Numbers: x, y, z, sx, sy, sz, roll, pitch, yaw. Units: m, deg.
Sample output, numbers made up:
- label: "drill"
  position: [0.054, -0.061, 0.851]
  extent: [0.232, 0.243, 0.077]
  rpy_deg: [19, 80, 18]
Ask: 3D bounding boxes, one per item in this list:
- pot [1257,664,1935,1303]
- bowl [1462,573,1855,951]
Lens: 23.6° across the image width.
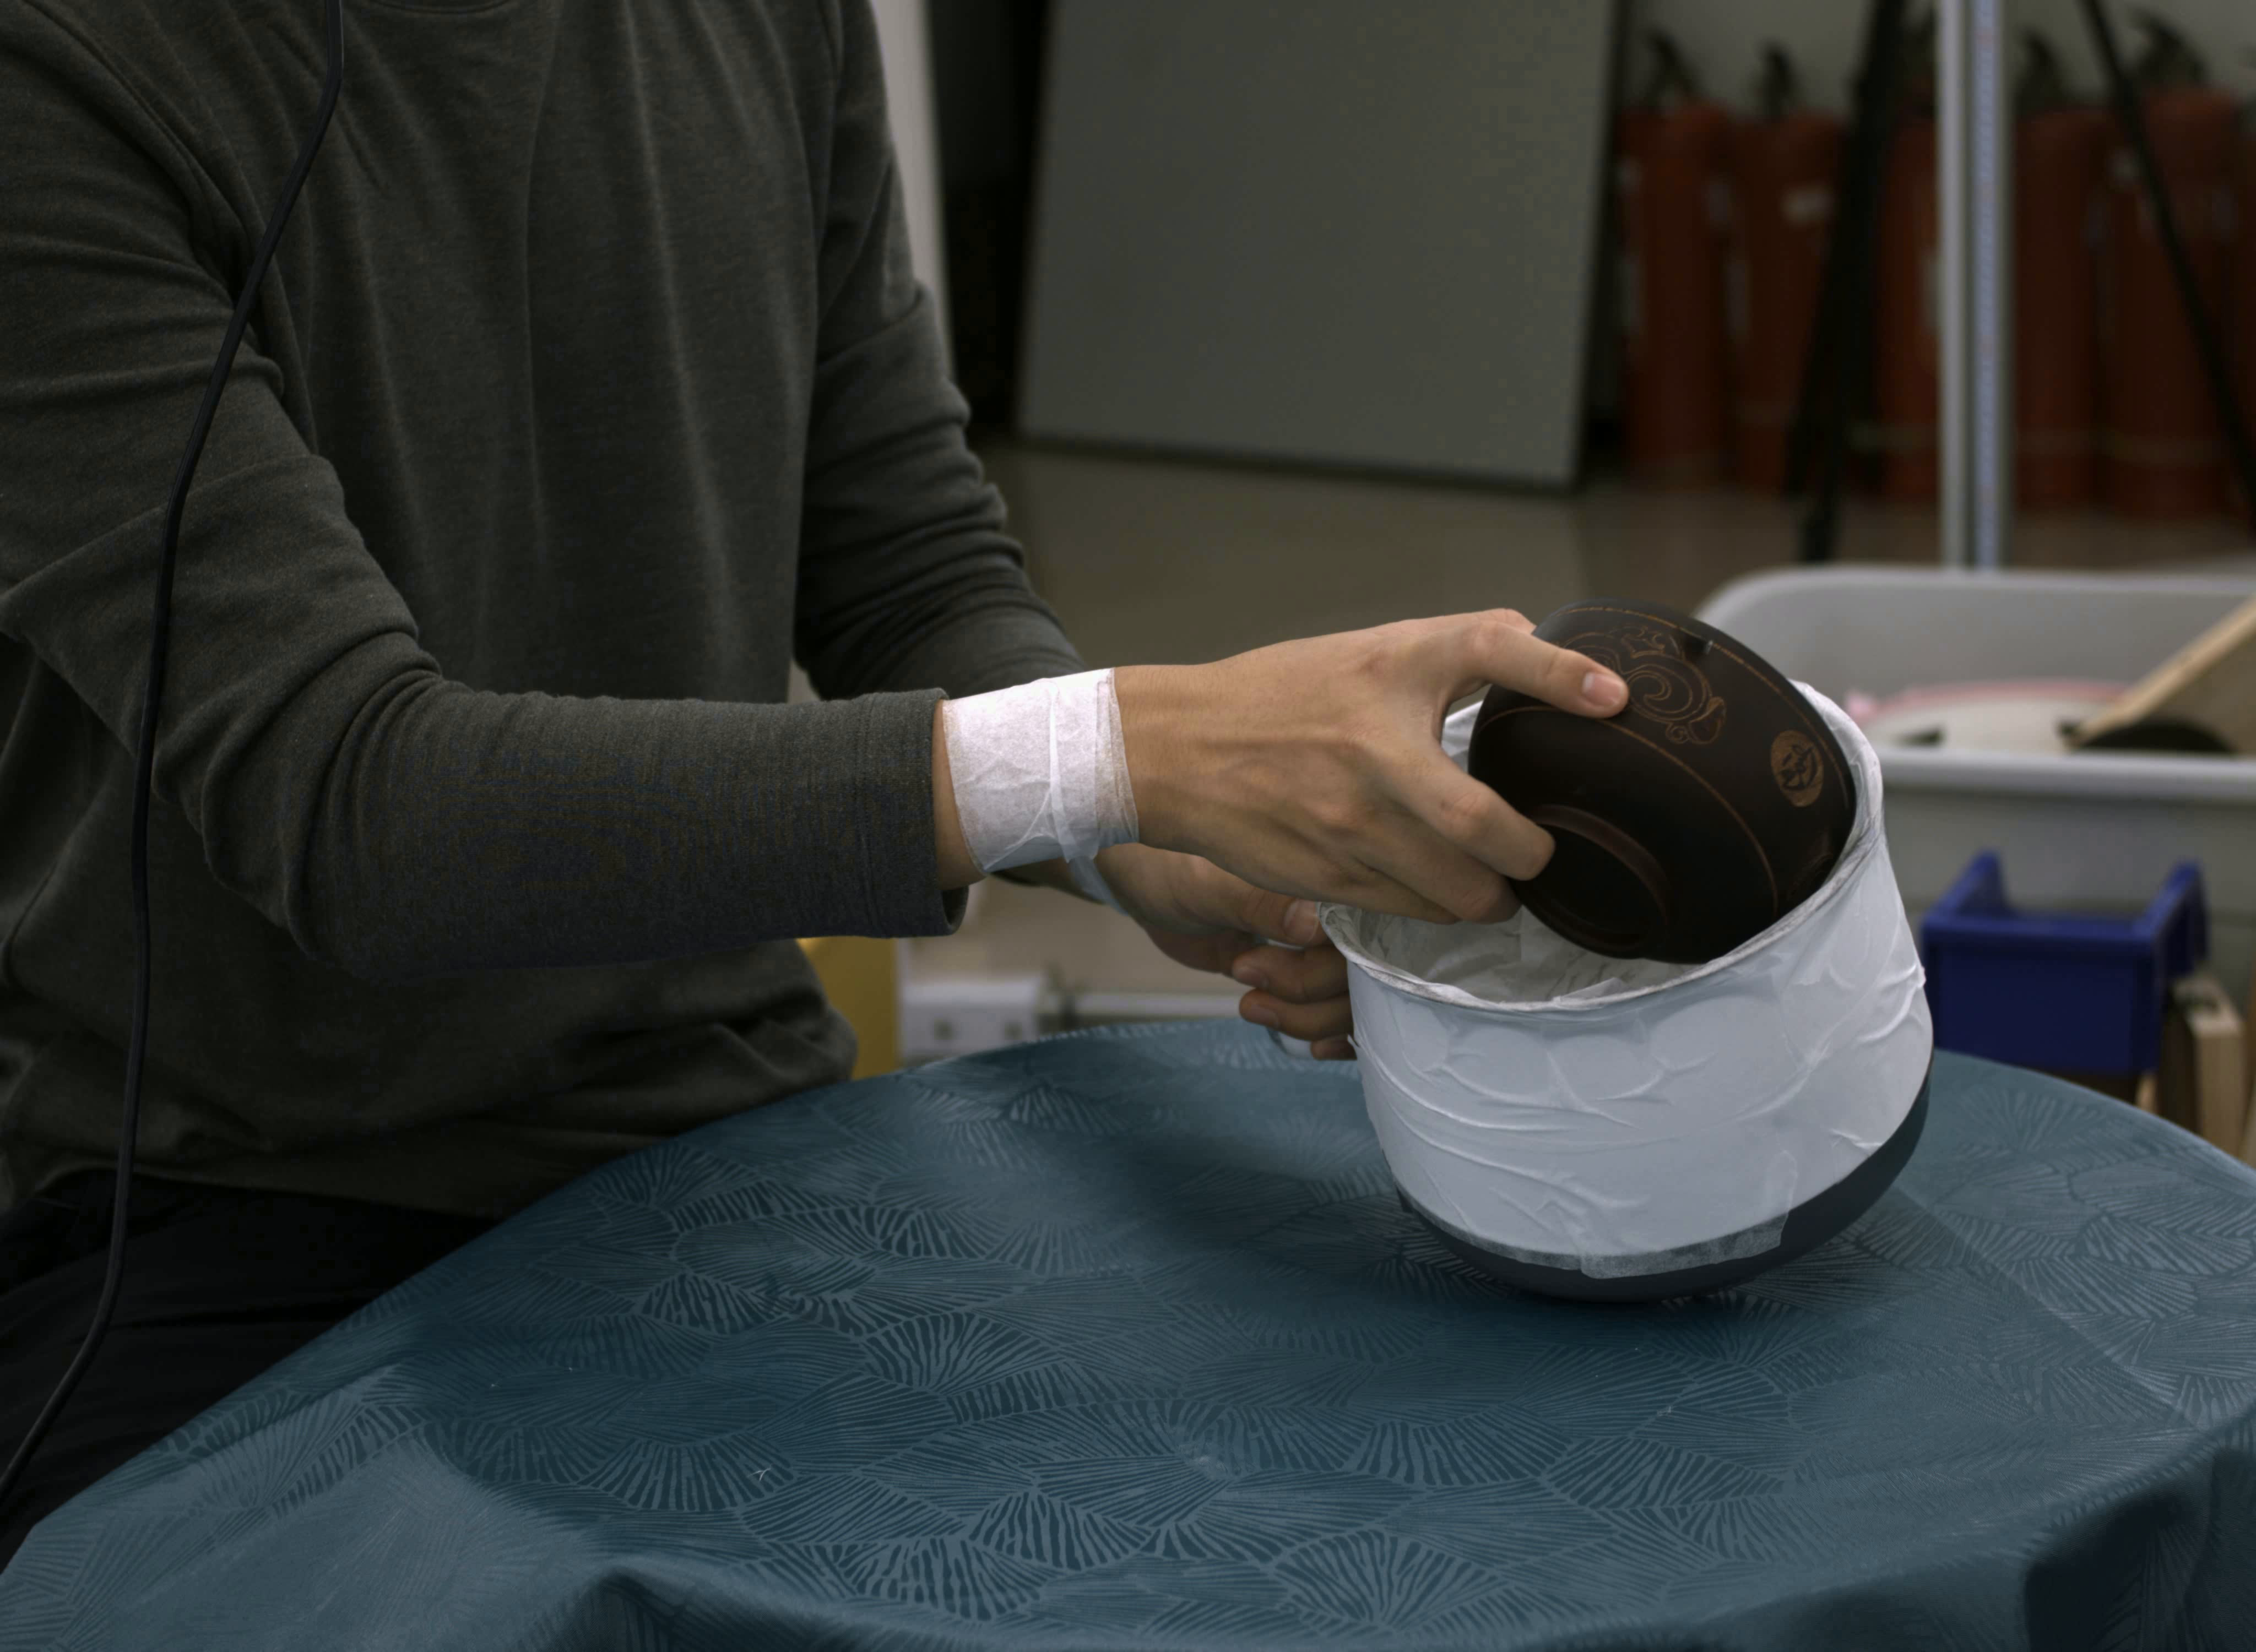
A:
- label: "pot"
  position: [0.134, 0.045, 1.672]
  extent: [0.235, 0.137, 0.177]
  rpy_deg: [10, 41, 37]
- label: "bowl"
  position: [0.149, -0.009, 1.592]
  extent: [0.119, 0.117, 0.069]
  rpy_deg: [9, 50, 42]
